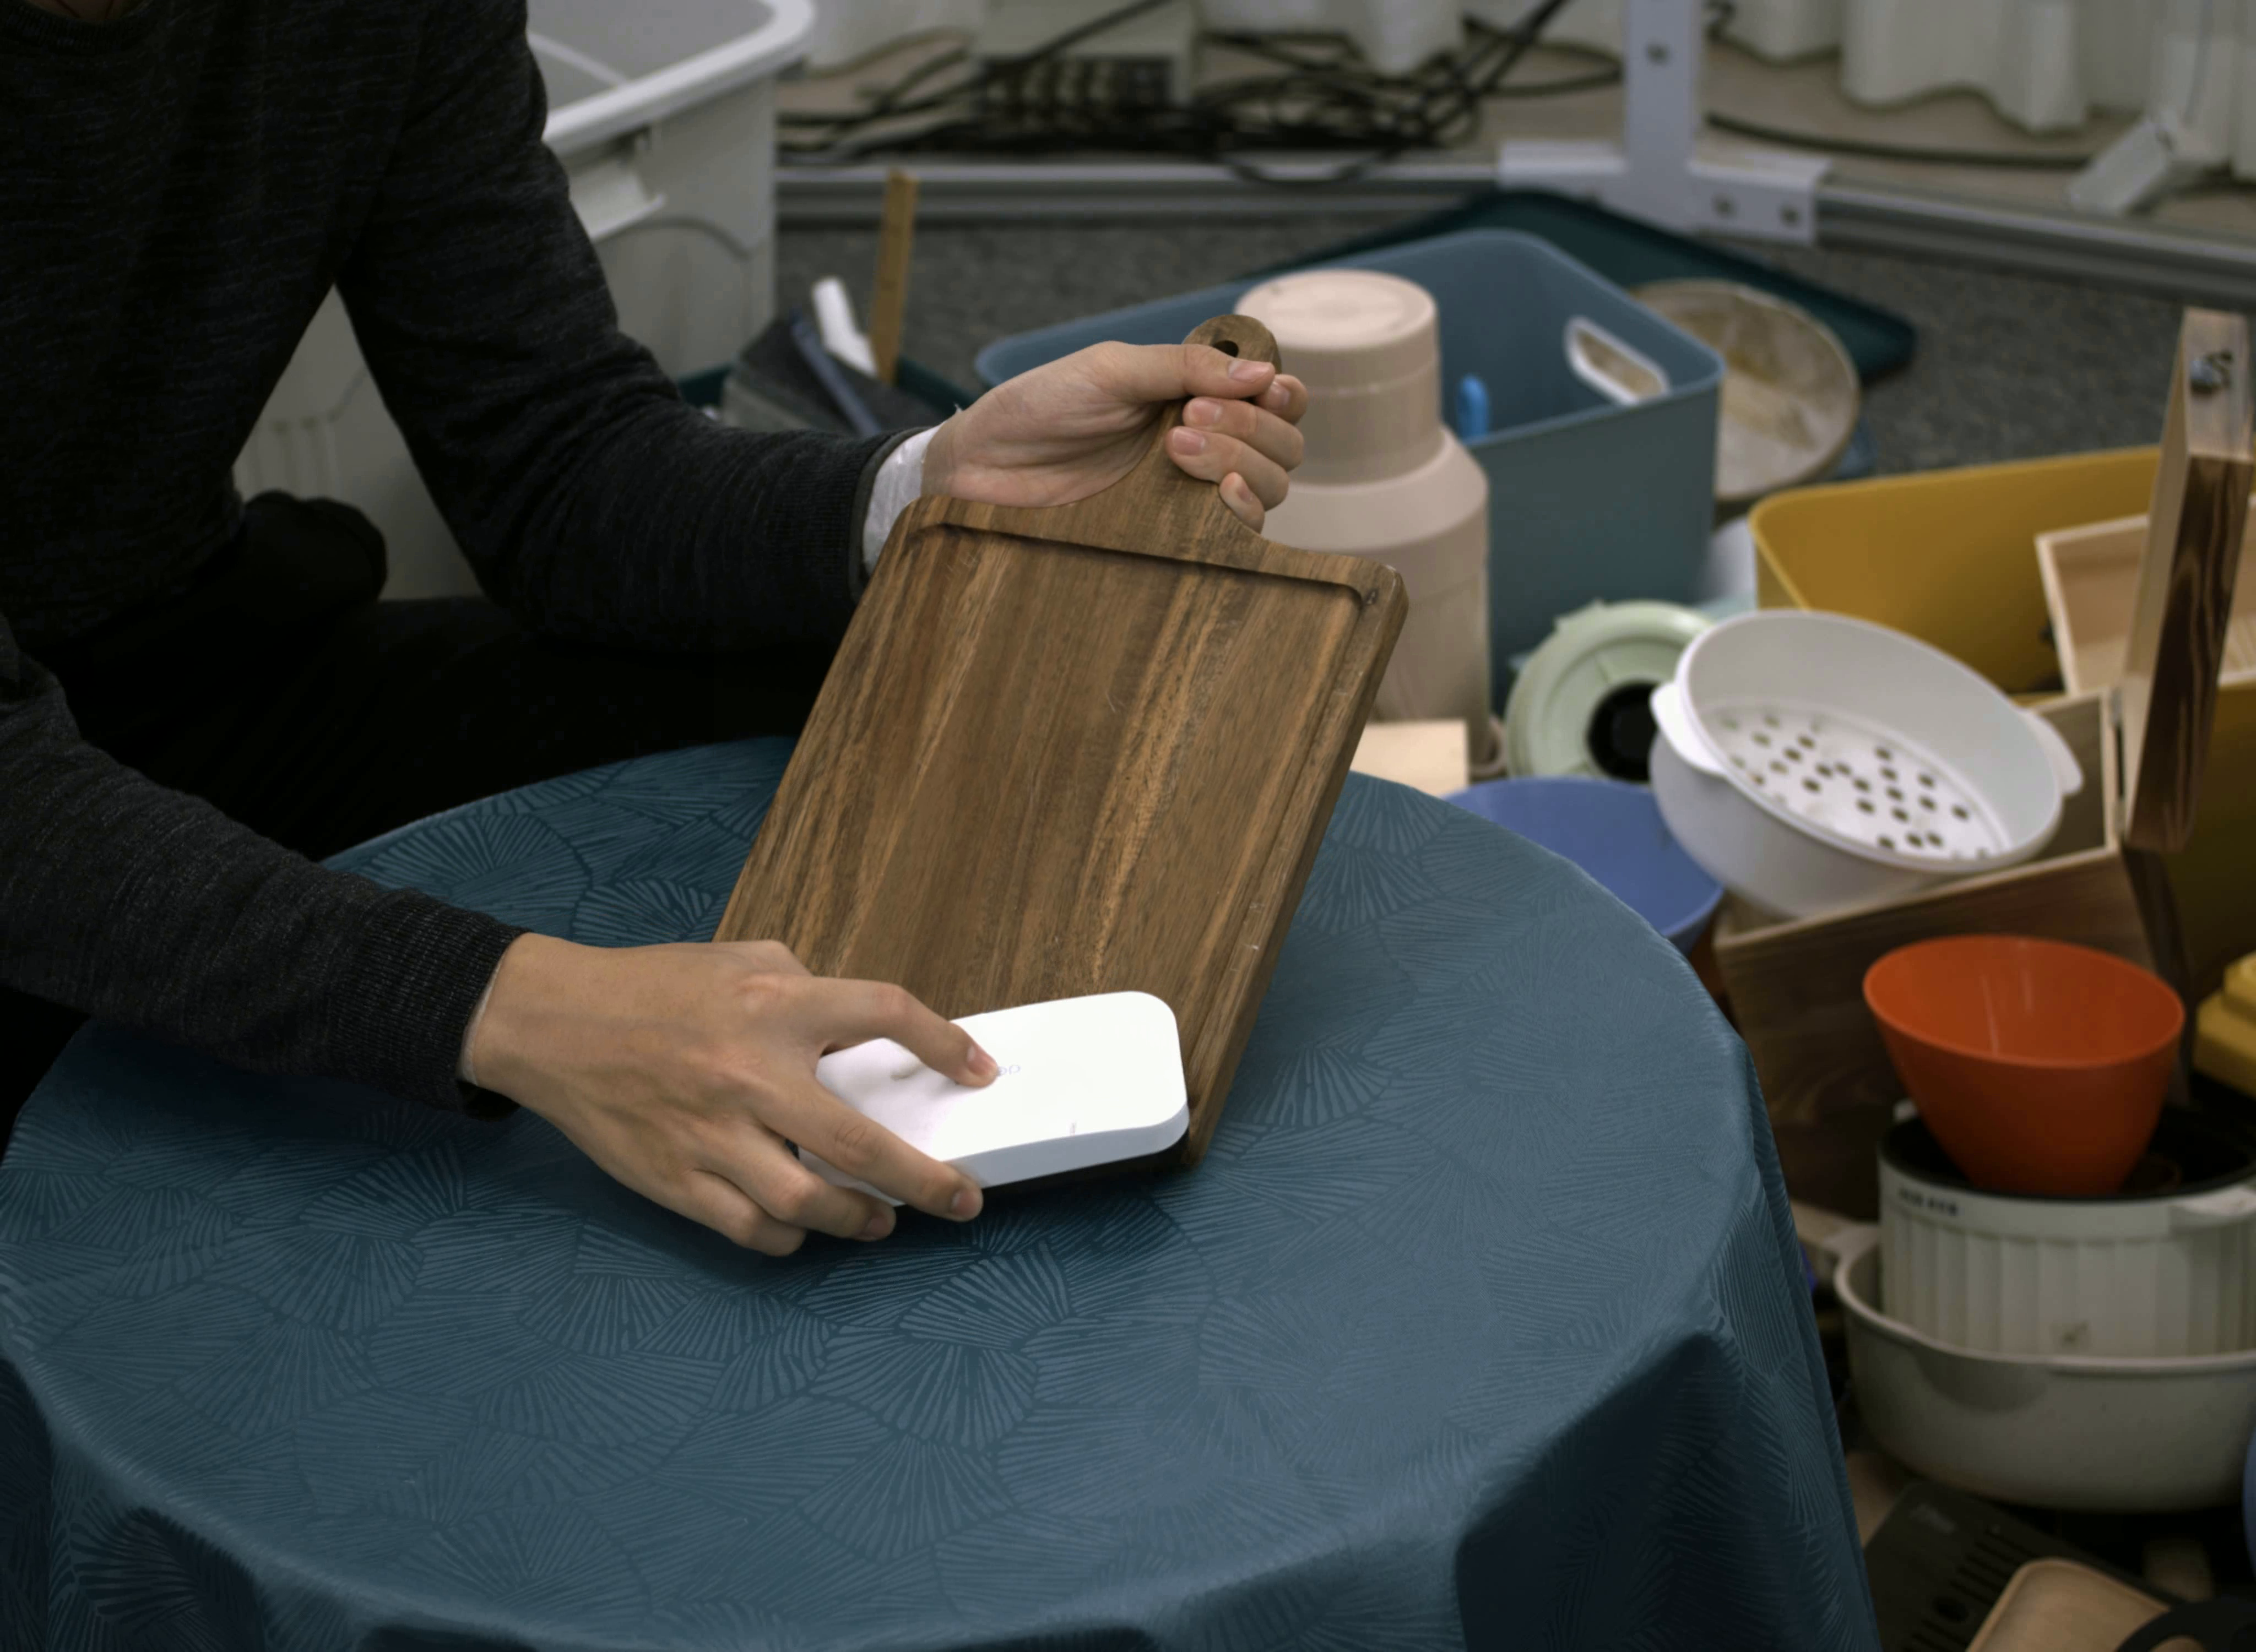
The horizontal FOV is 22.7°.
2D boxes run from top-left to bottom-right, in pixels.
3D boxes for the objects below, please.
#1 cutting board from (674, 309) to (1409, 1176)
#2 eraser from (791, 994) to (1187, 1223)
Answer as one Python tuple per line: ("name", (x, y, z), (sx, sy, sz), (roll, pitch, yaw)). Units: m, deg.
("cutting board", (-0.013, -0.042, 1.983), (0.200, 0.023, 0.359), (9, 56, 20))
("eraser", (-0.046, 0.091, 1.859), (0.130, 0.034, 0.064), (-10, 44, 2))
